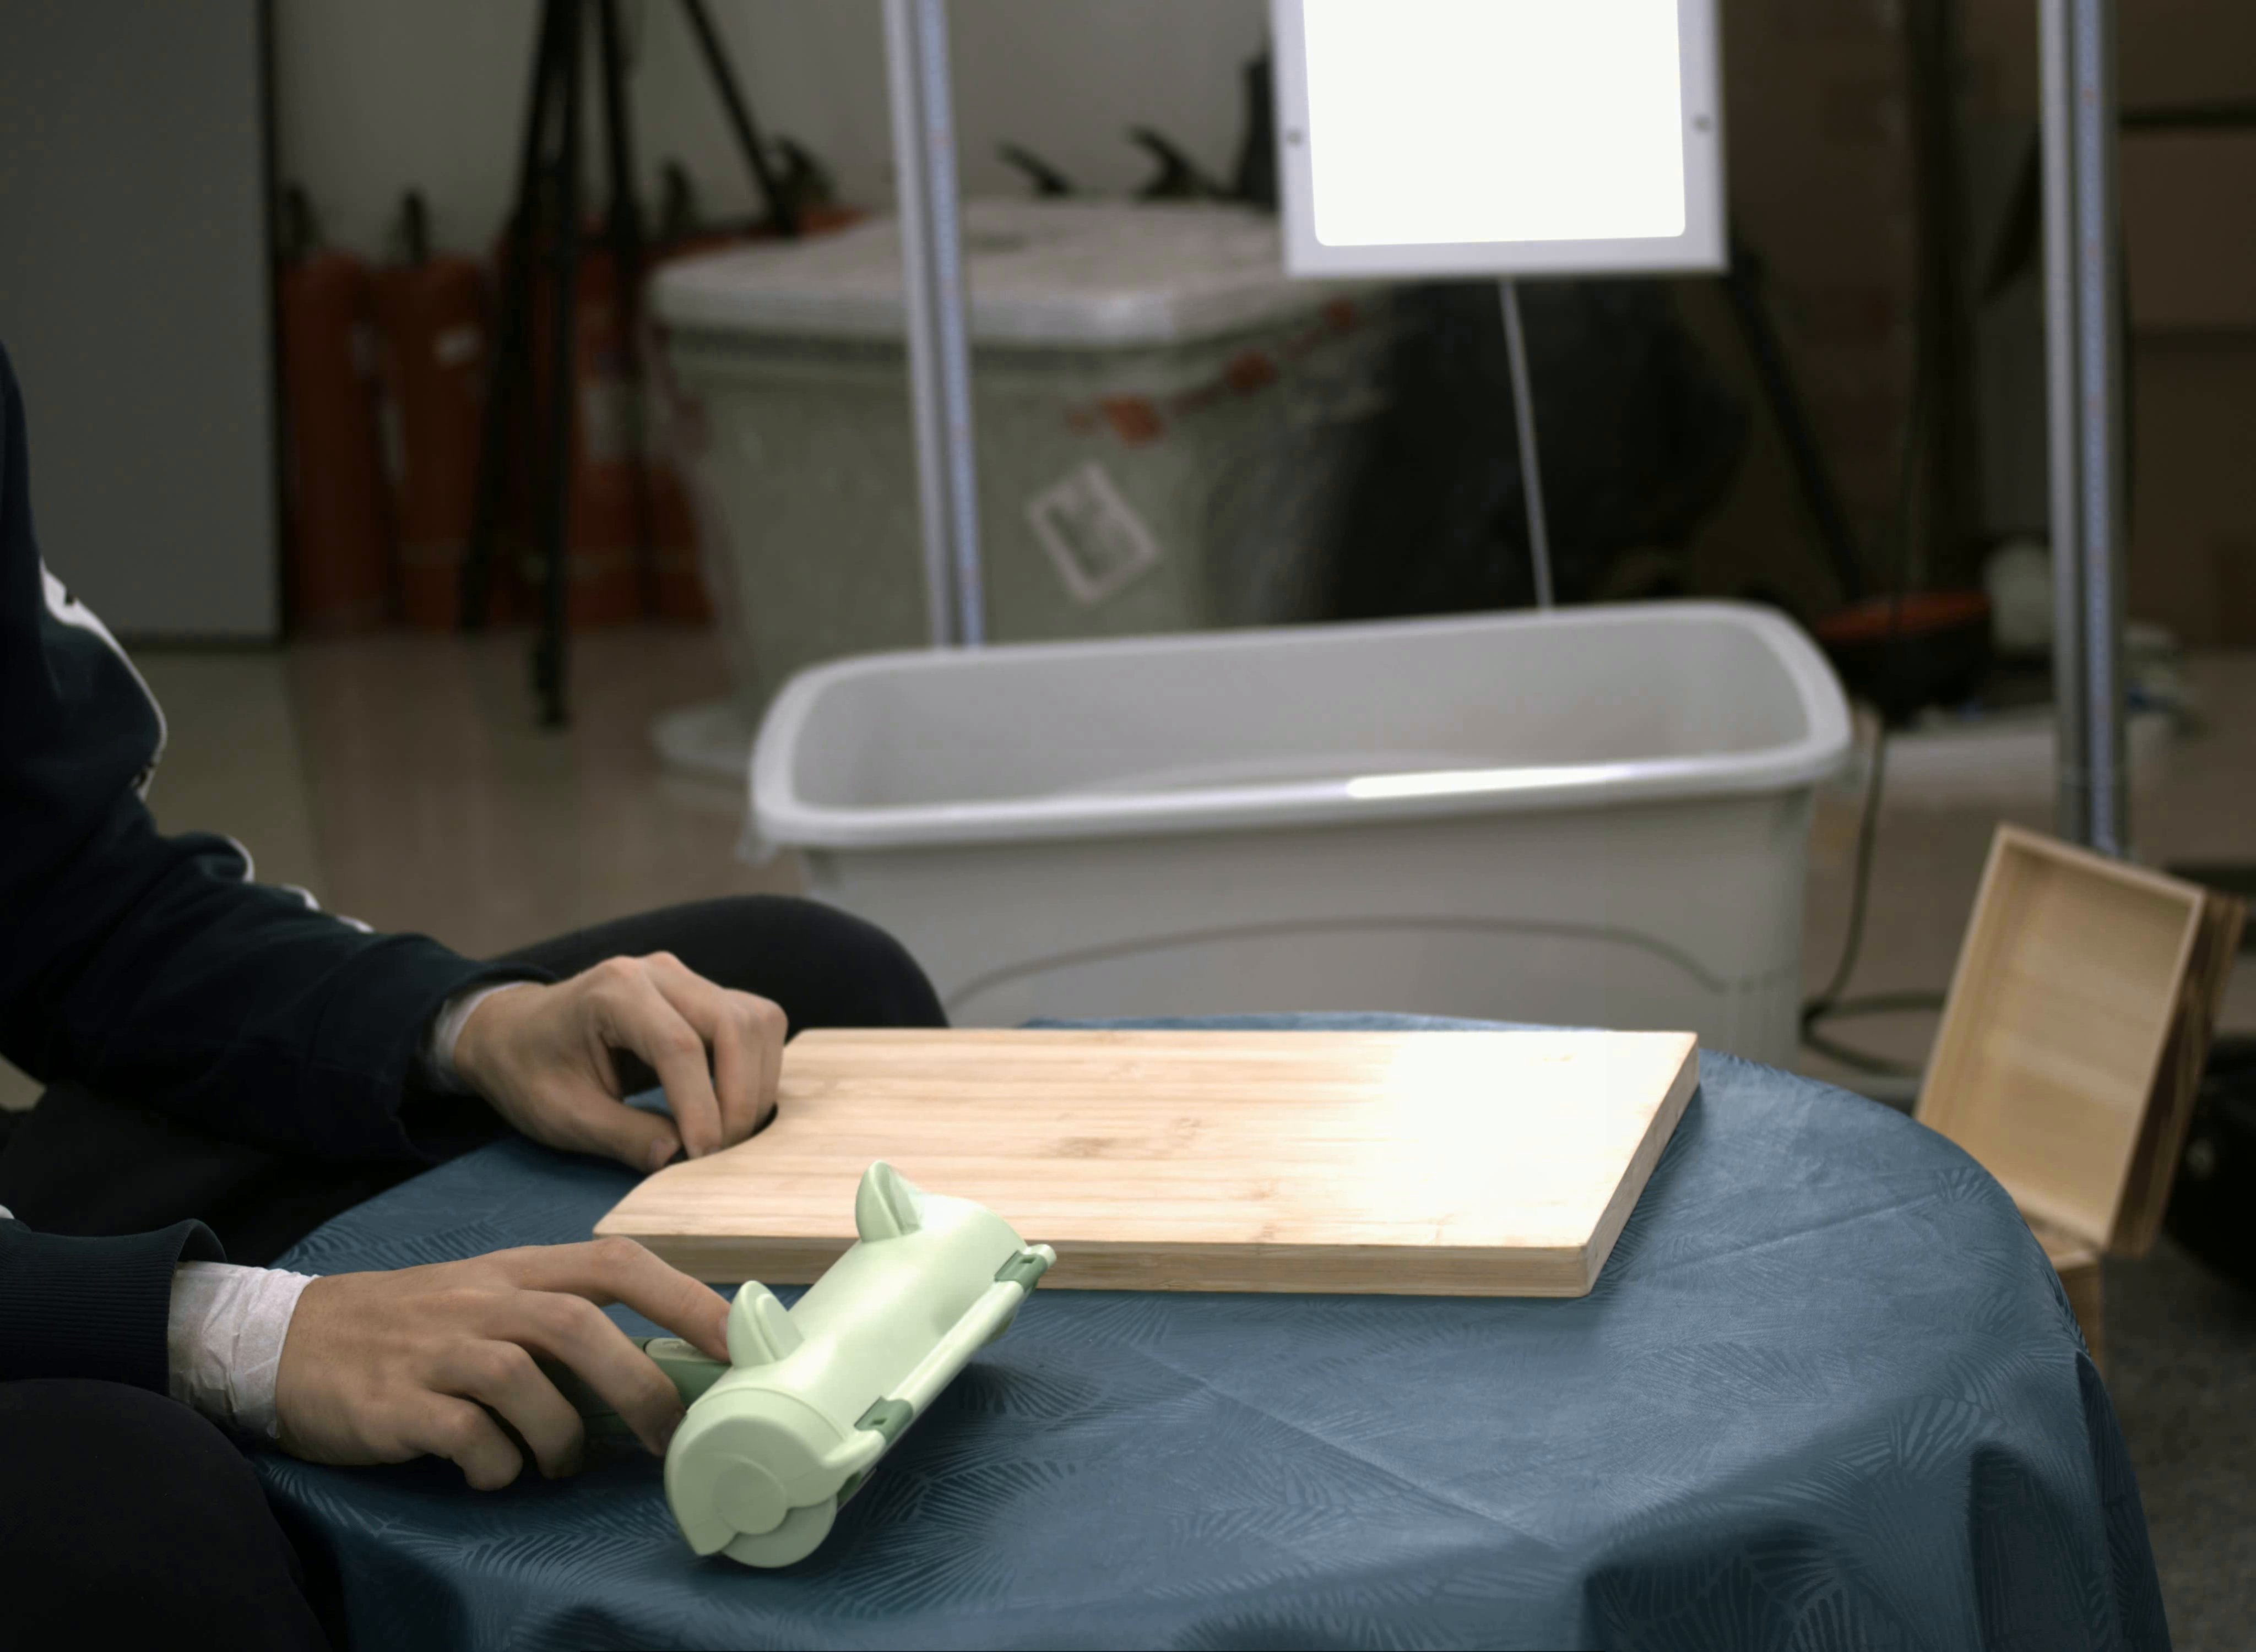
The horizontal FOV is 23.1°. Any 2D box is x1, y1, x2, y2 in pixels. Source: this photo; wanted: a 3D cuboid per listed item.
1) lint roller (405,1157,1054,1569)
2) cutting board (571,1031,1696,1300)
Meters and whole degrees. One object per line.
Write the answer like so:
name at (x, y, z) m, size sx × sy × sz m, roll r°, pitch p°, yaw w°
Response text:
lint roller at (-0.135, 0.154, 1.665) m, size 0.185 × 0.082 × 0.195 m, roll 3°, pitch 15°, yaw 17°
cutting board at (0.009, 0.115, 1.908) m, size 0.352 × 0.023 × 0.247 m, roll -1°, pitch 14°, yaw 16°
